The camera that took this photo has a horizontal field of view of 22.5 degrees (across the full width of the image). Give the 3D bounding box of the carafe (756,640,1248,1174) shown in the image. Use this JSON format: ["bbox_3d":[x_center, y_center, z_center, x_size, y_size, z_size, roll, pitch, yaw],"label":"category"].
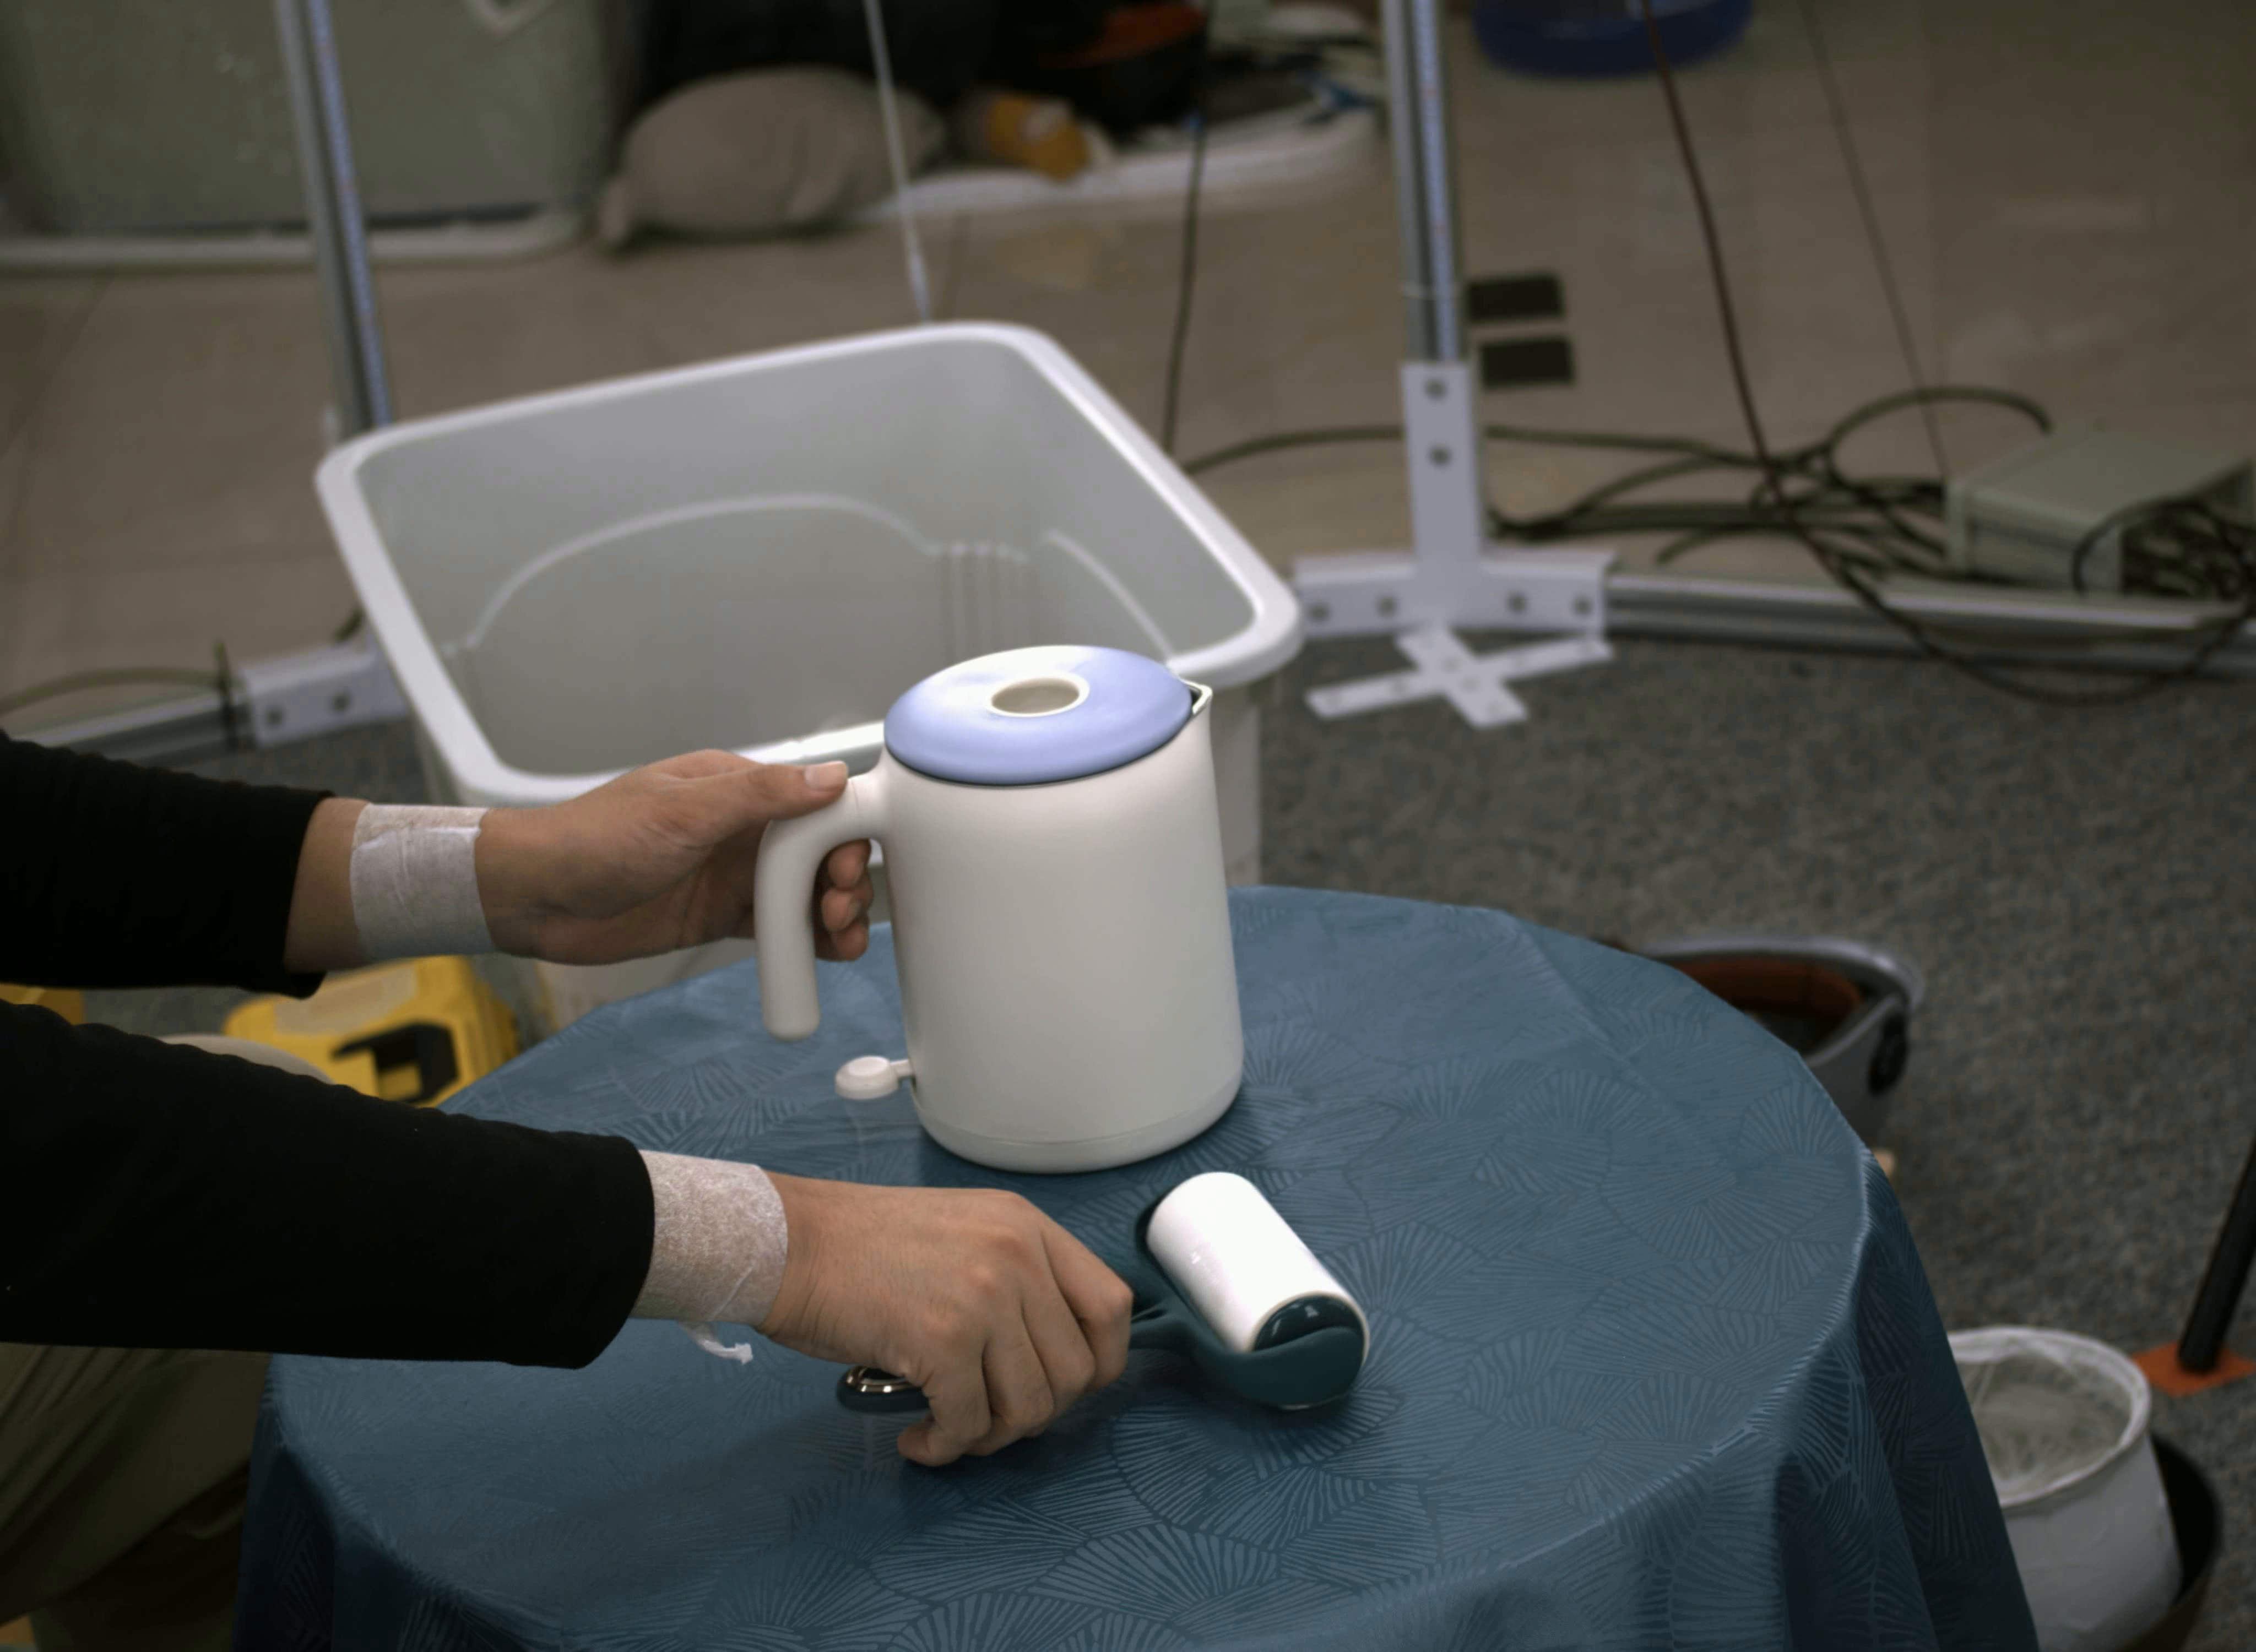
[{"bbox_3d":[-0.050,0.036,2.175,0.190,0.185,0.130,-13,26,-9],"label":"carafe"}]

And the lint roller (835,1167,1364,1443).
[{"bbox_3d":[-0.018,0.177,2.004,0.179,0.049,0.132,-10,25,-15],"label":"lint roller"}]
